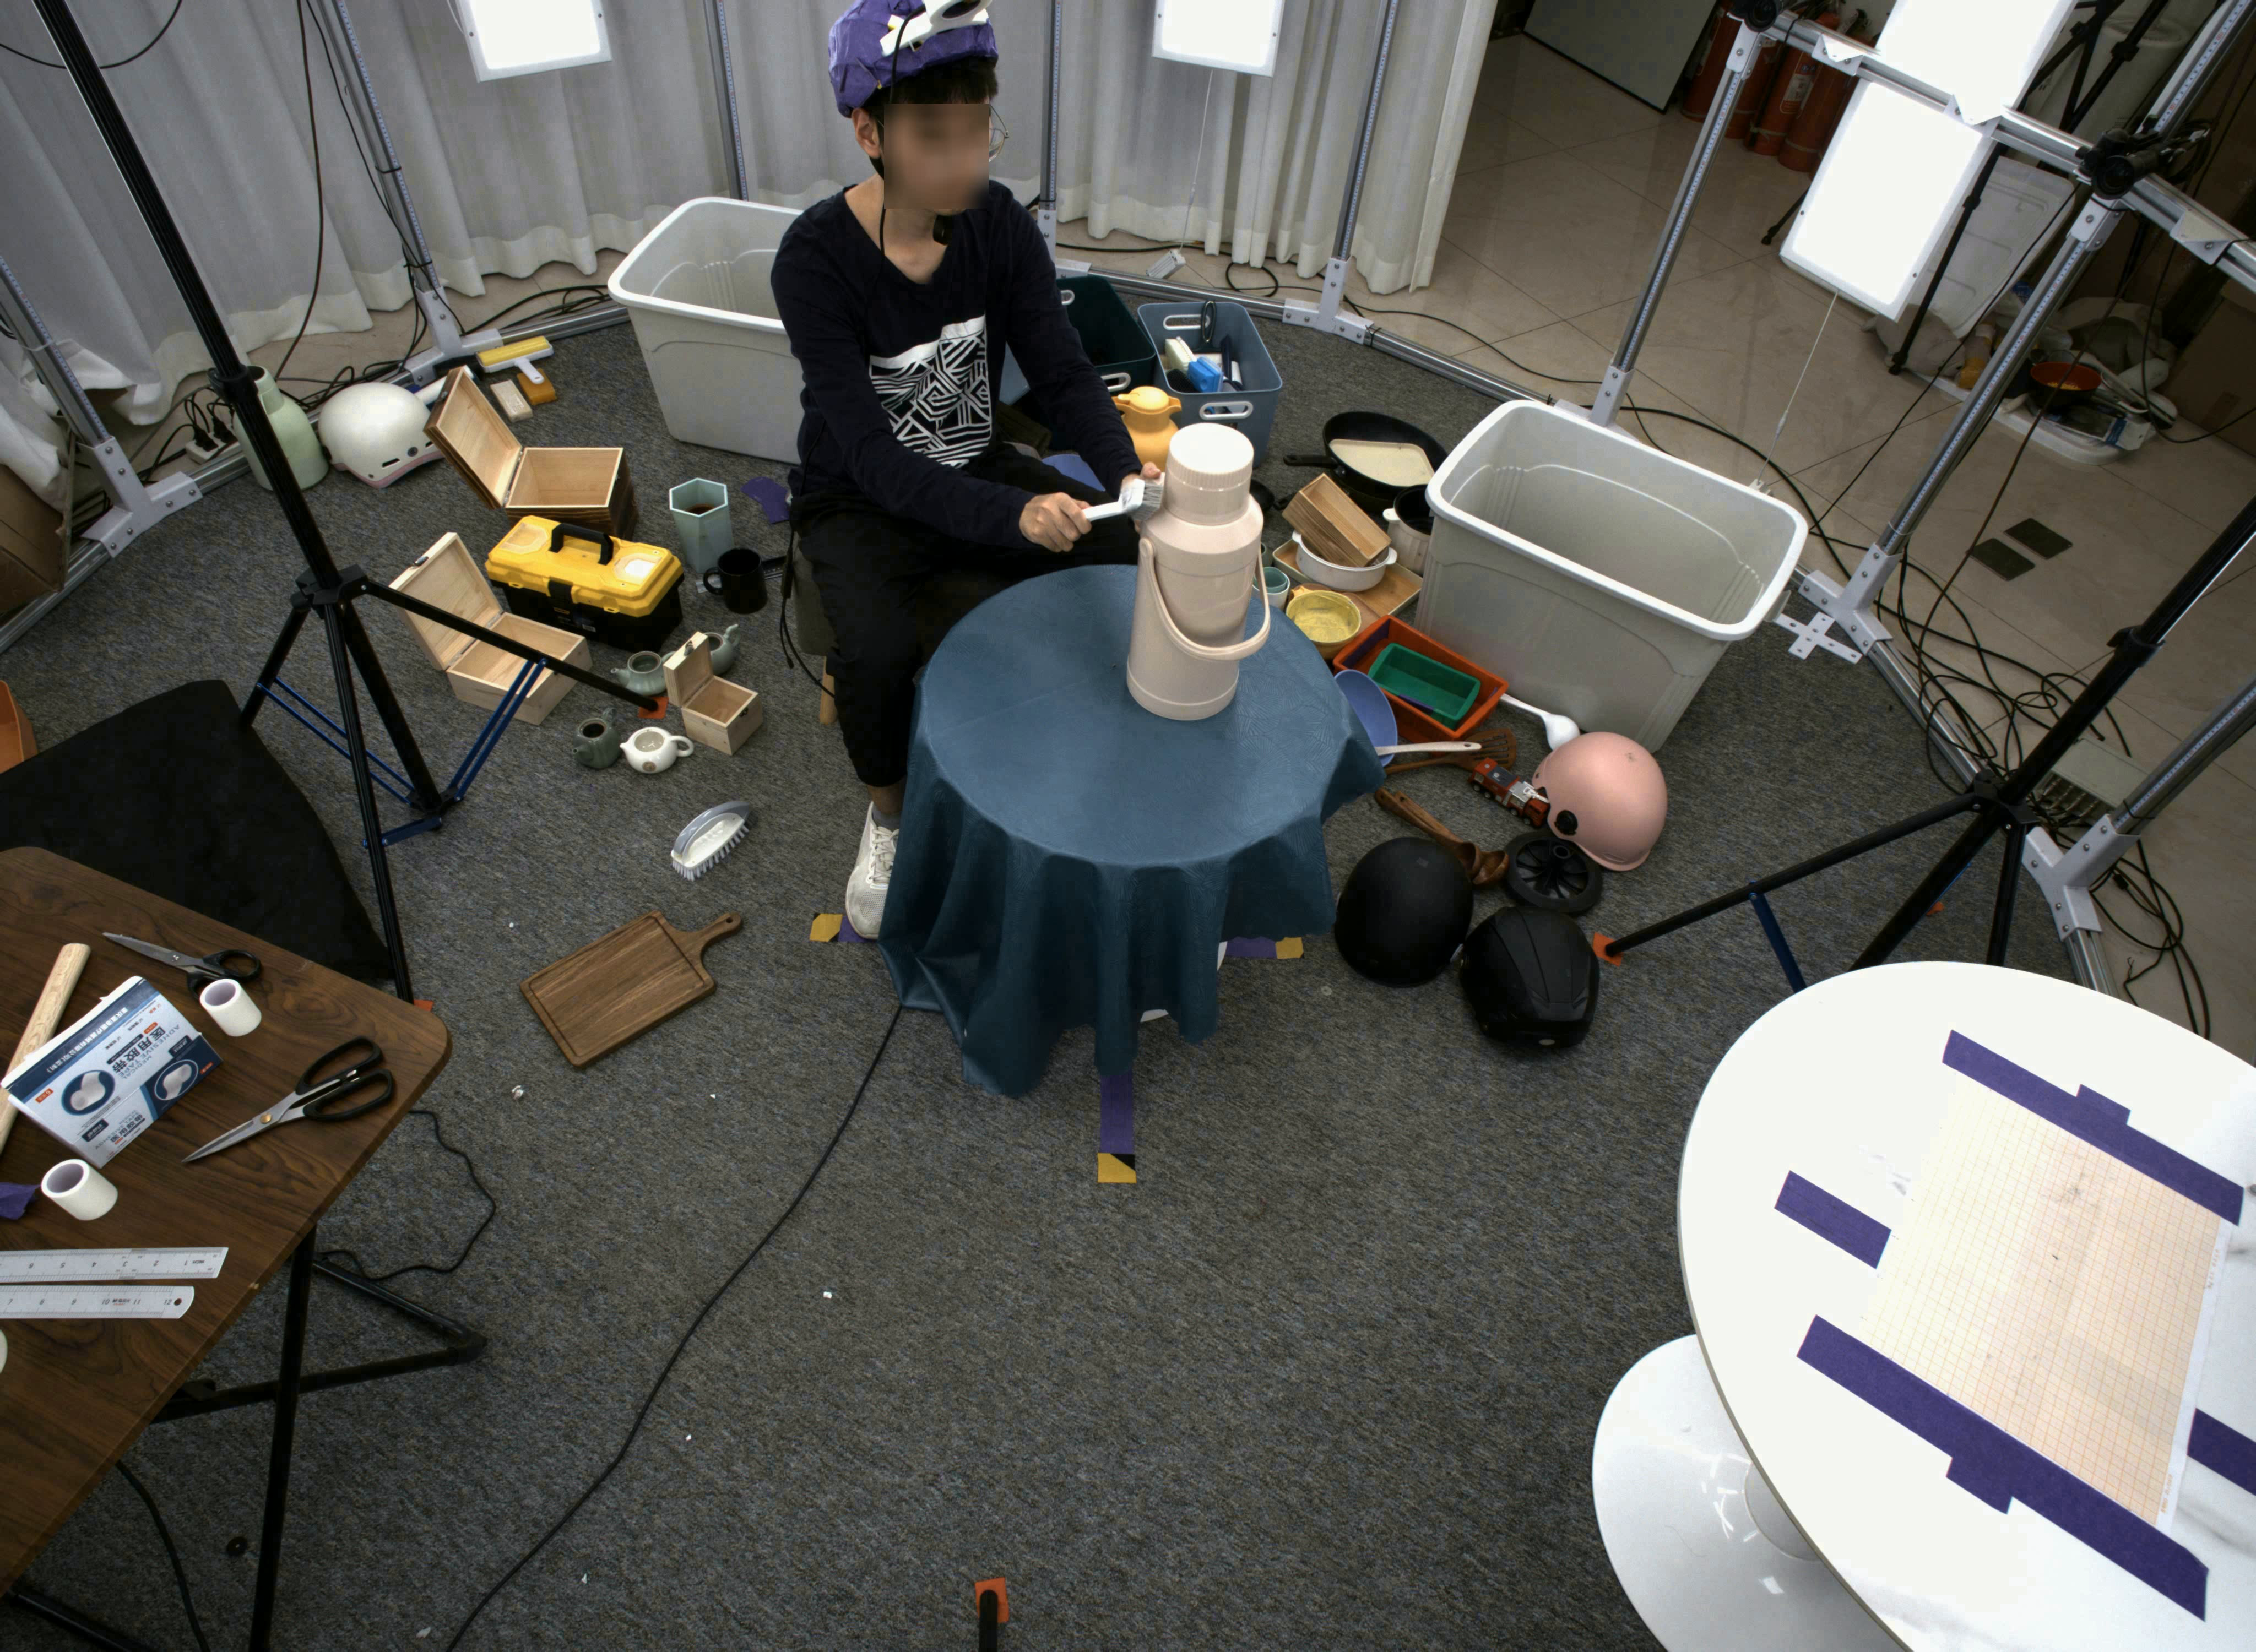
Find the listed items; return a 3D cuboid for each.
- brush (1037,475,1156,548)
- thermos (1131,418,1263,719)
[{"bbox_3d":[-0.040,-0.398,1.664,0.050,0.243,0.034,7,80,-33],"label":"brush"},{"bbox_3d":[0.084,-0.346,1.718,0.176,0.396,0.211,-25,55,-22],"label":"thermos"}]
